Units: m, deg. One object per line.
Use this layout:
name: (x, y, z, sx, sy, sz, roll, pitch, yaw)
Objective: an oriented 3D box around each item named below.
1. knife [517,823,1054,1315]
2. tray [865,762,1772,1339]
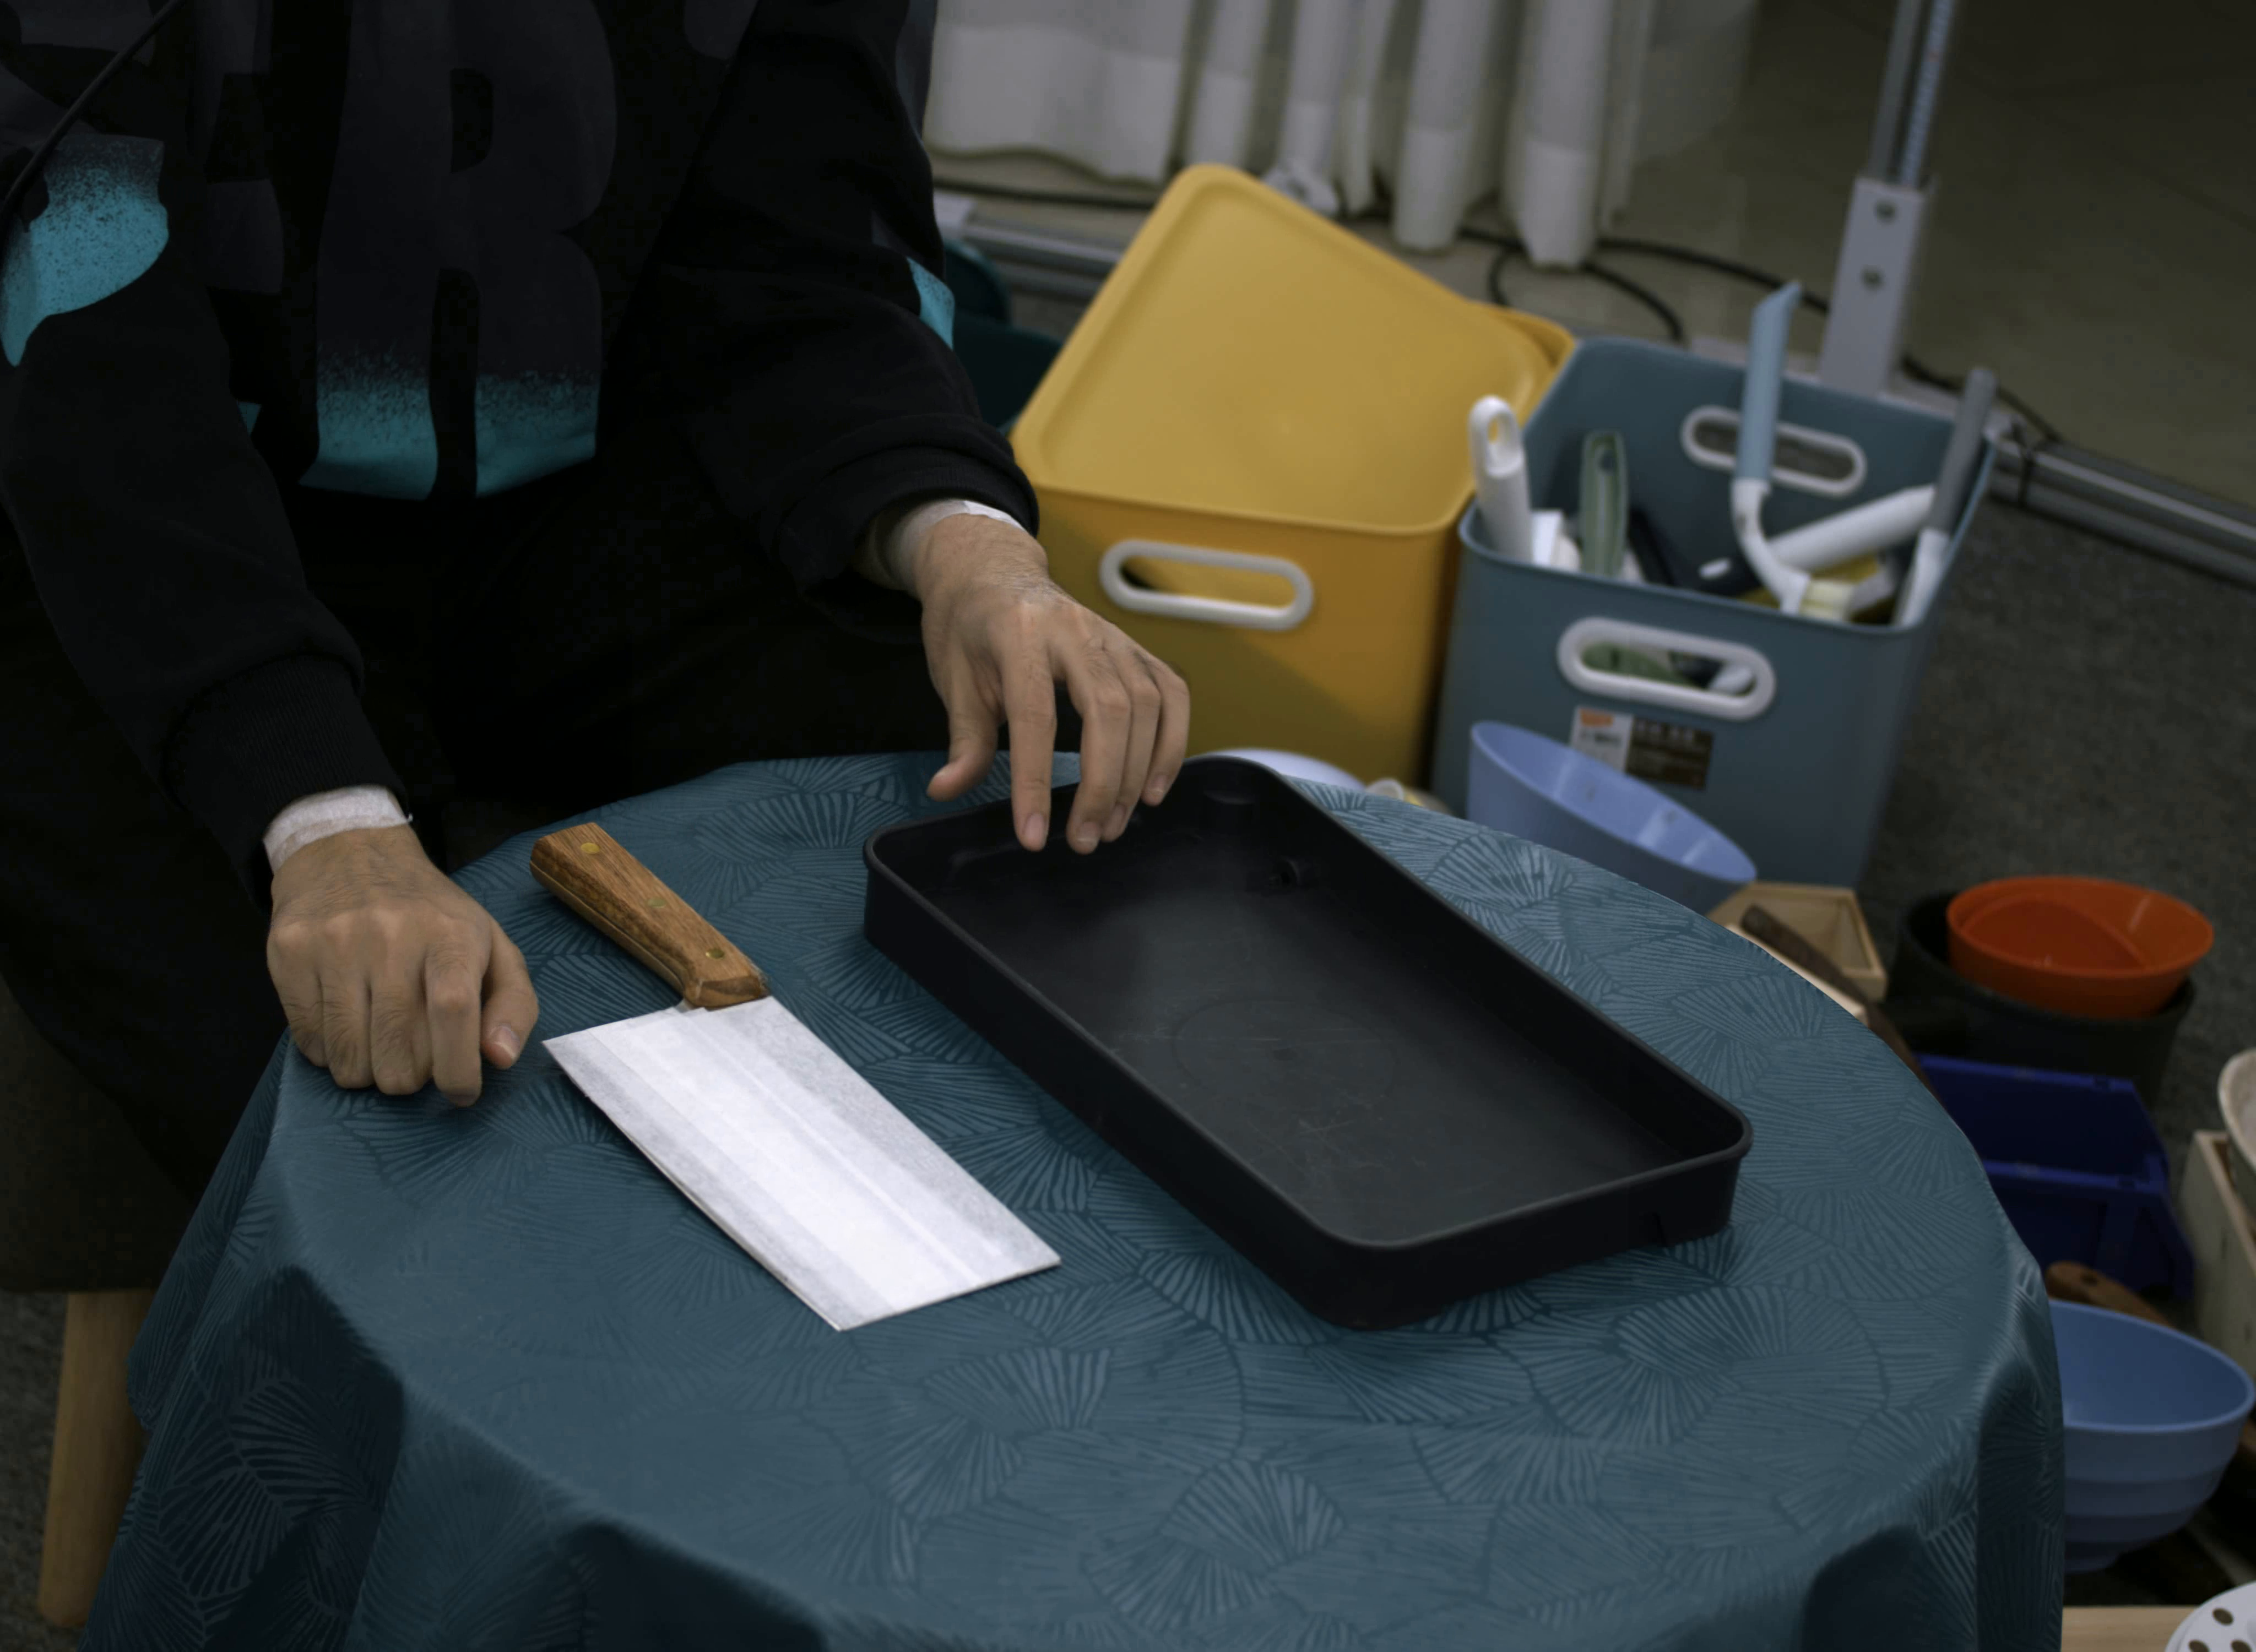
knife: (-0.144, 0.083, 1.834, 0.092, 0.021, 0.308, -15, 36, -33)
tray: (0.061, 0.073, 1.877, 0.183, 0.037, 0.321, -14, 33, -34)
